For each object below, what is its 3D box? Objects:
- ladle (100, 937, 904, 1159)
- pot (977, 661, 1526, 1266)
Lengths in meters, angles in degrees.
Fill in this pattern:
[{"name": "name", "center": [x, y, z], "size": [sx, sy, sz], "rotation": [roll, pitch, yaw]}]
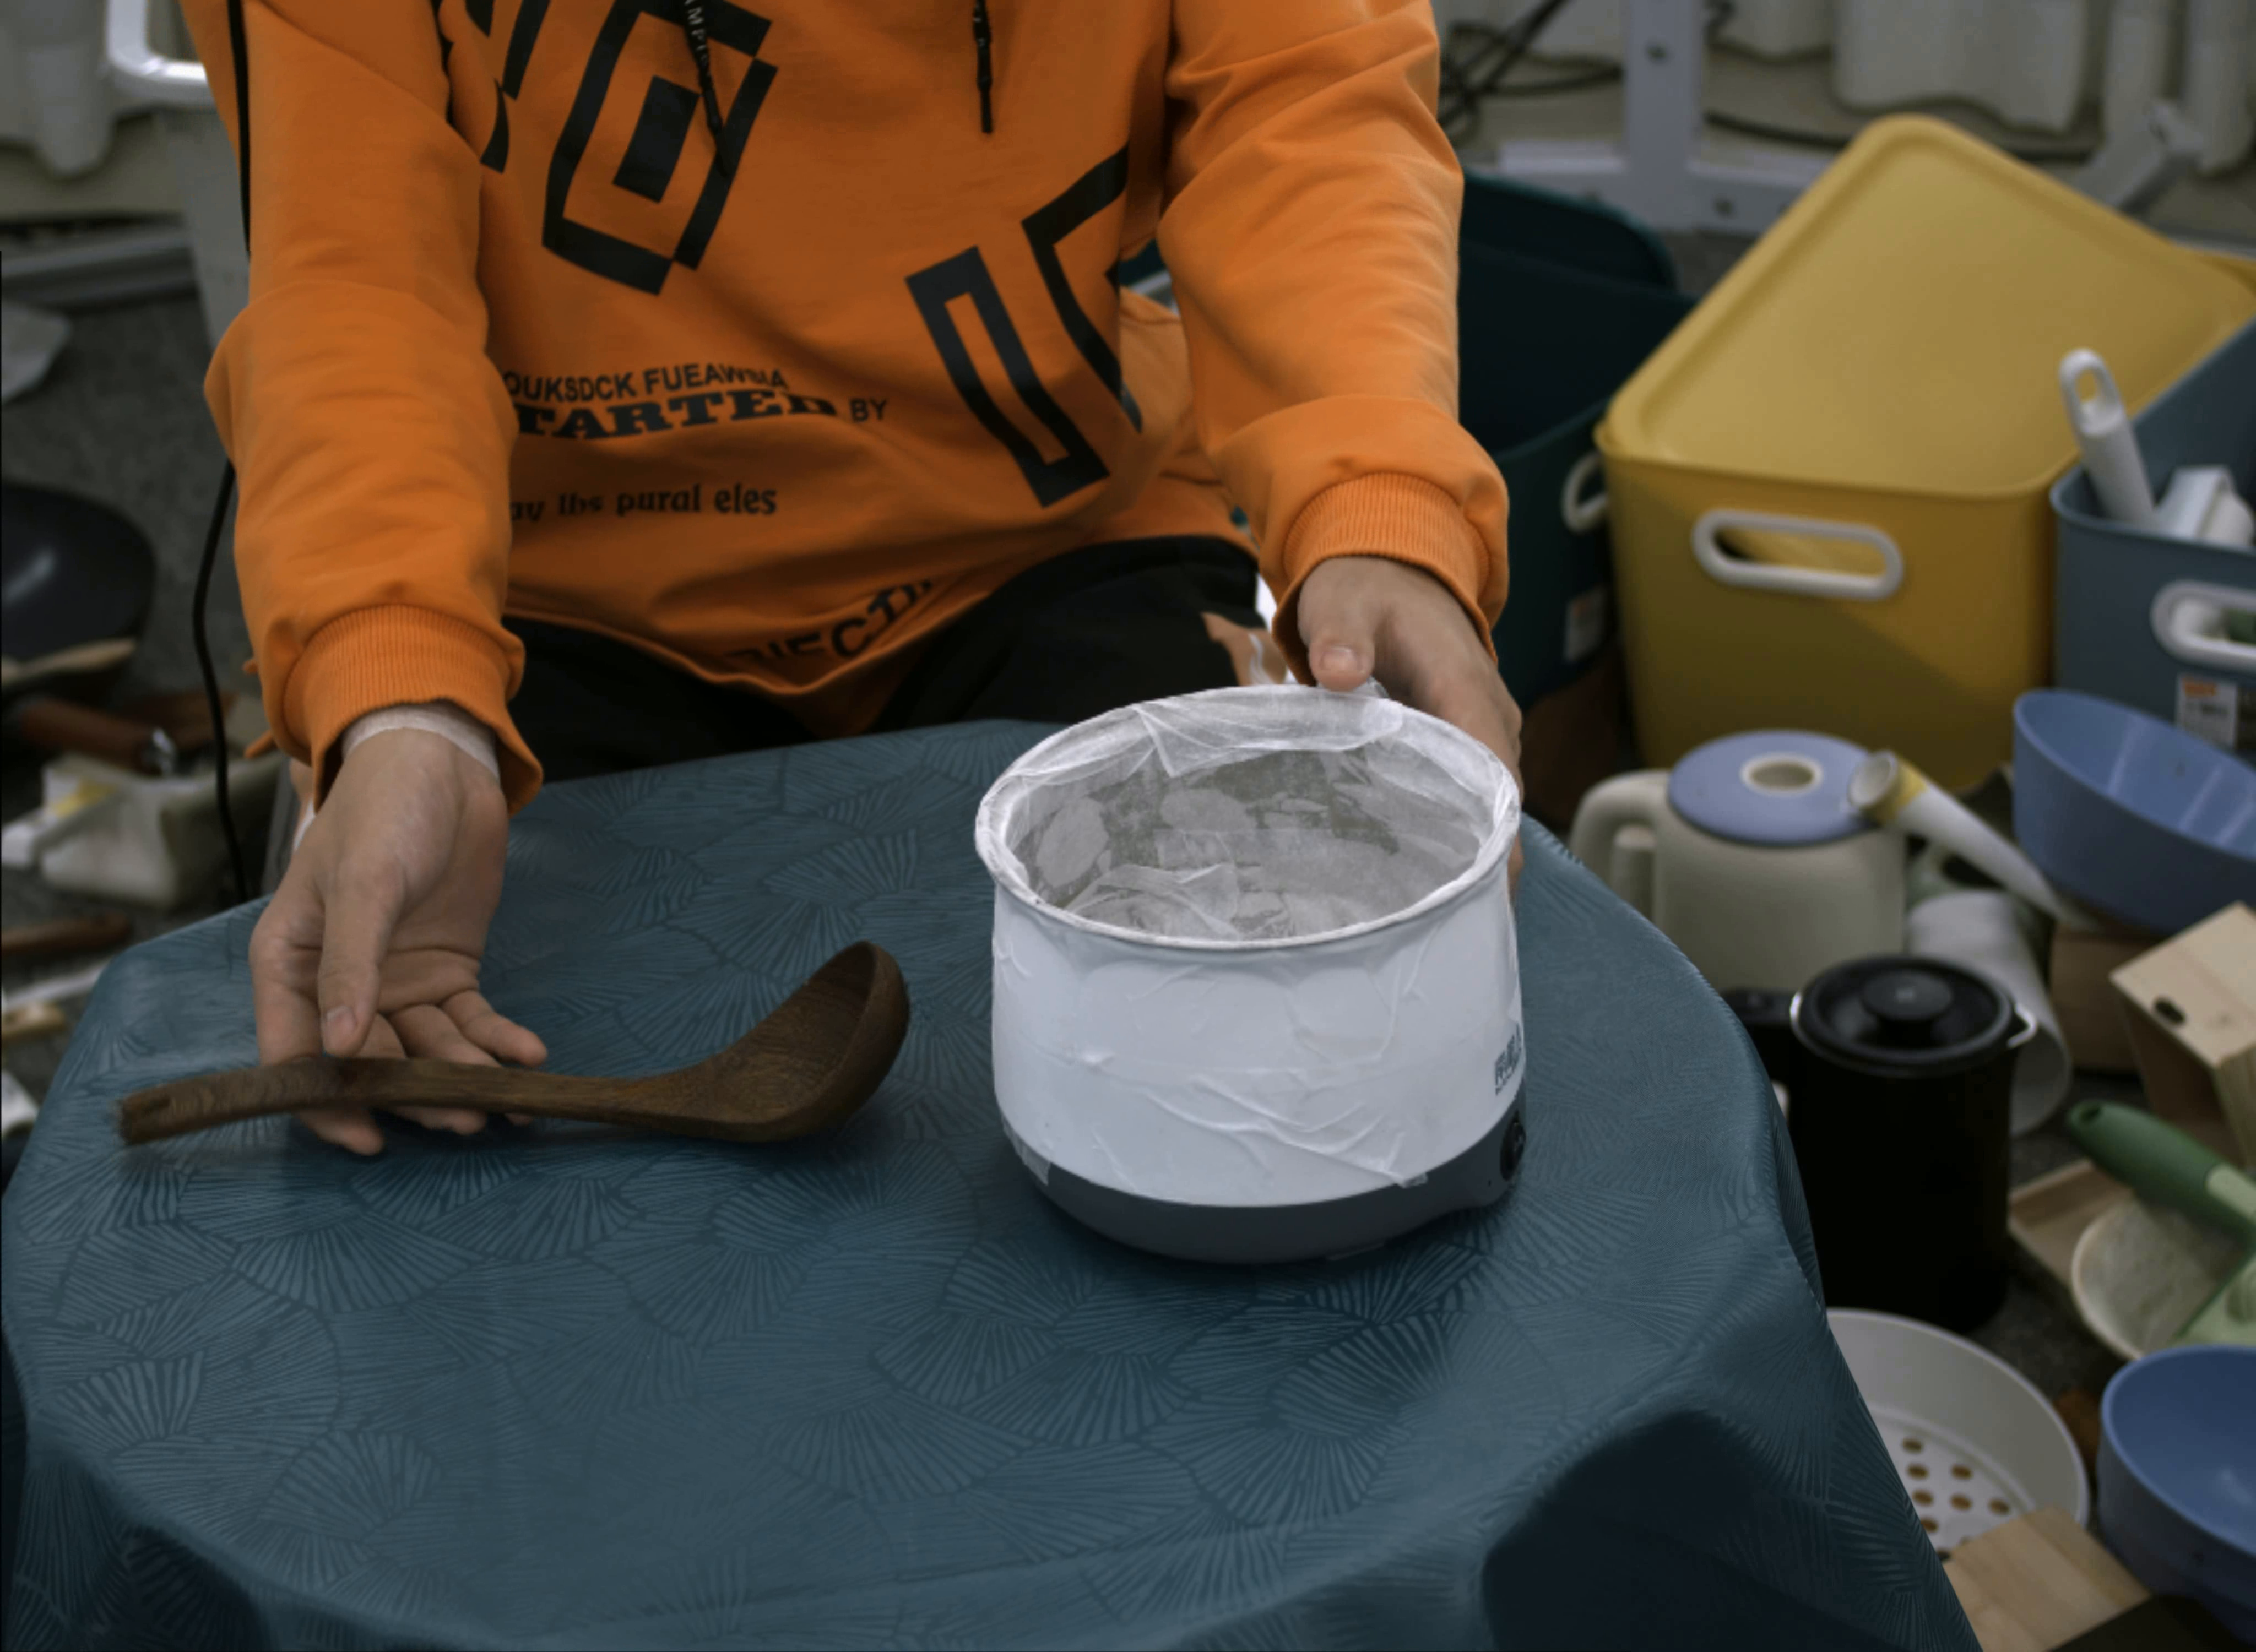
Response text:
[{"name": "ladle", "center": [-0.212, 0.076, 1.891], "size": [0.273, 0.070, 0.077], "rotation": [-1, 28, -1]}, {"name": "pot", "center": [0.051, 0.038, 1.871], "size": [0.177, 0.135, 0.238], "rotation": [7, 29, 17]}]
